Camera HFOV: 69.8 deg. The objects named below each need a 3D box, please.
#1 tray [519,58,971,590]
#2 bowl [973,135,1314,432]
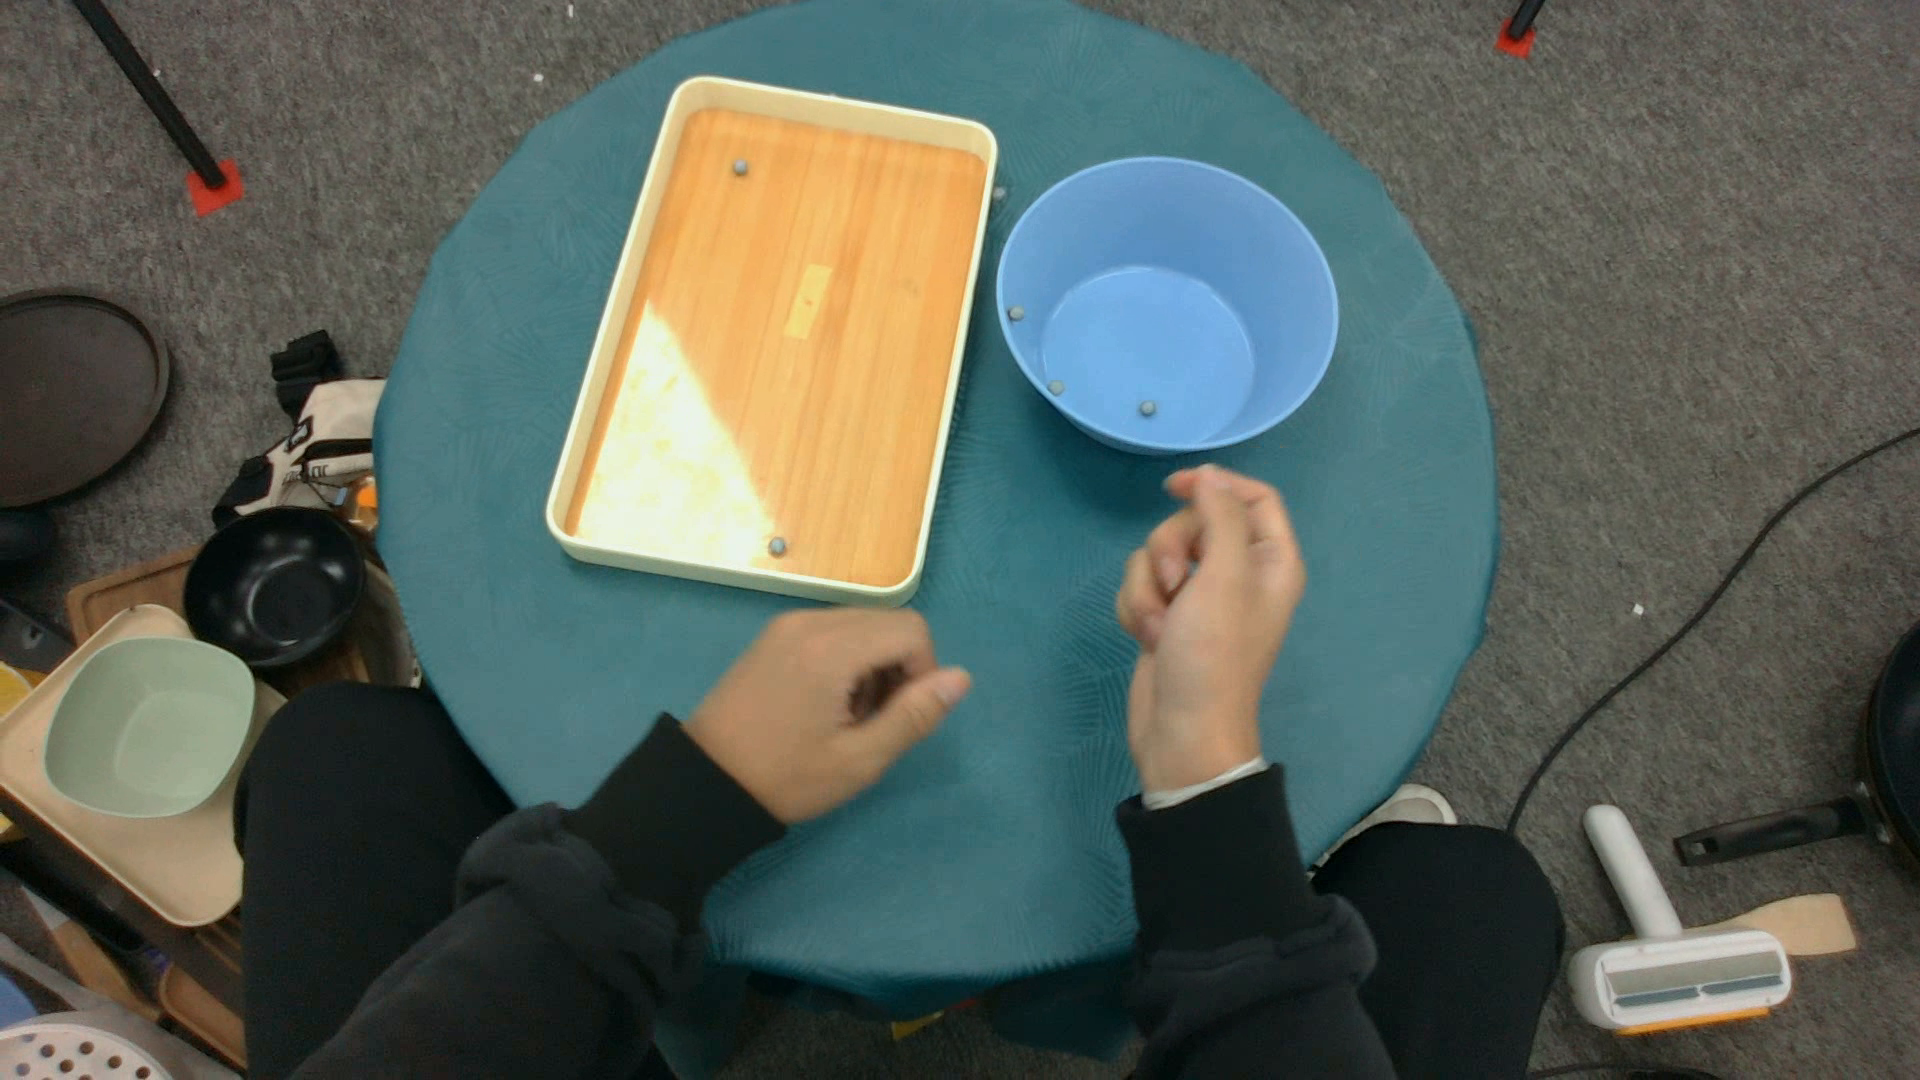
[{"bbox_3d":[-0.107,-0.126,0.745,0.191,0.027,0.301,9,66,0],"label":"tray"},{"bbox_3d":[0.094,-0.125,0.735,0.176,0.070,0.176,1,67,-2],"label":"bowl"}]
